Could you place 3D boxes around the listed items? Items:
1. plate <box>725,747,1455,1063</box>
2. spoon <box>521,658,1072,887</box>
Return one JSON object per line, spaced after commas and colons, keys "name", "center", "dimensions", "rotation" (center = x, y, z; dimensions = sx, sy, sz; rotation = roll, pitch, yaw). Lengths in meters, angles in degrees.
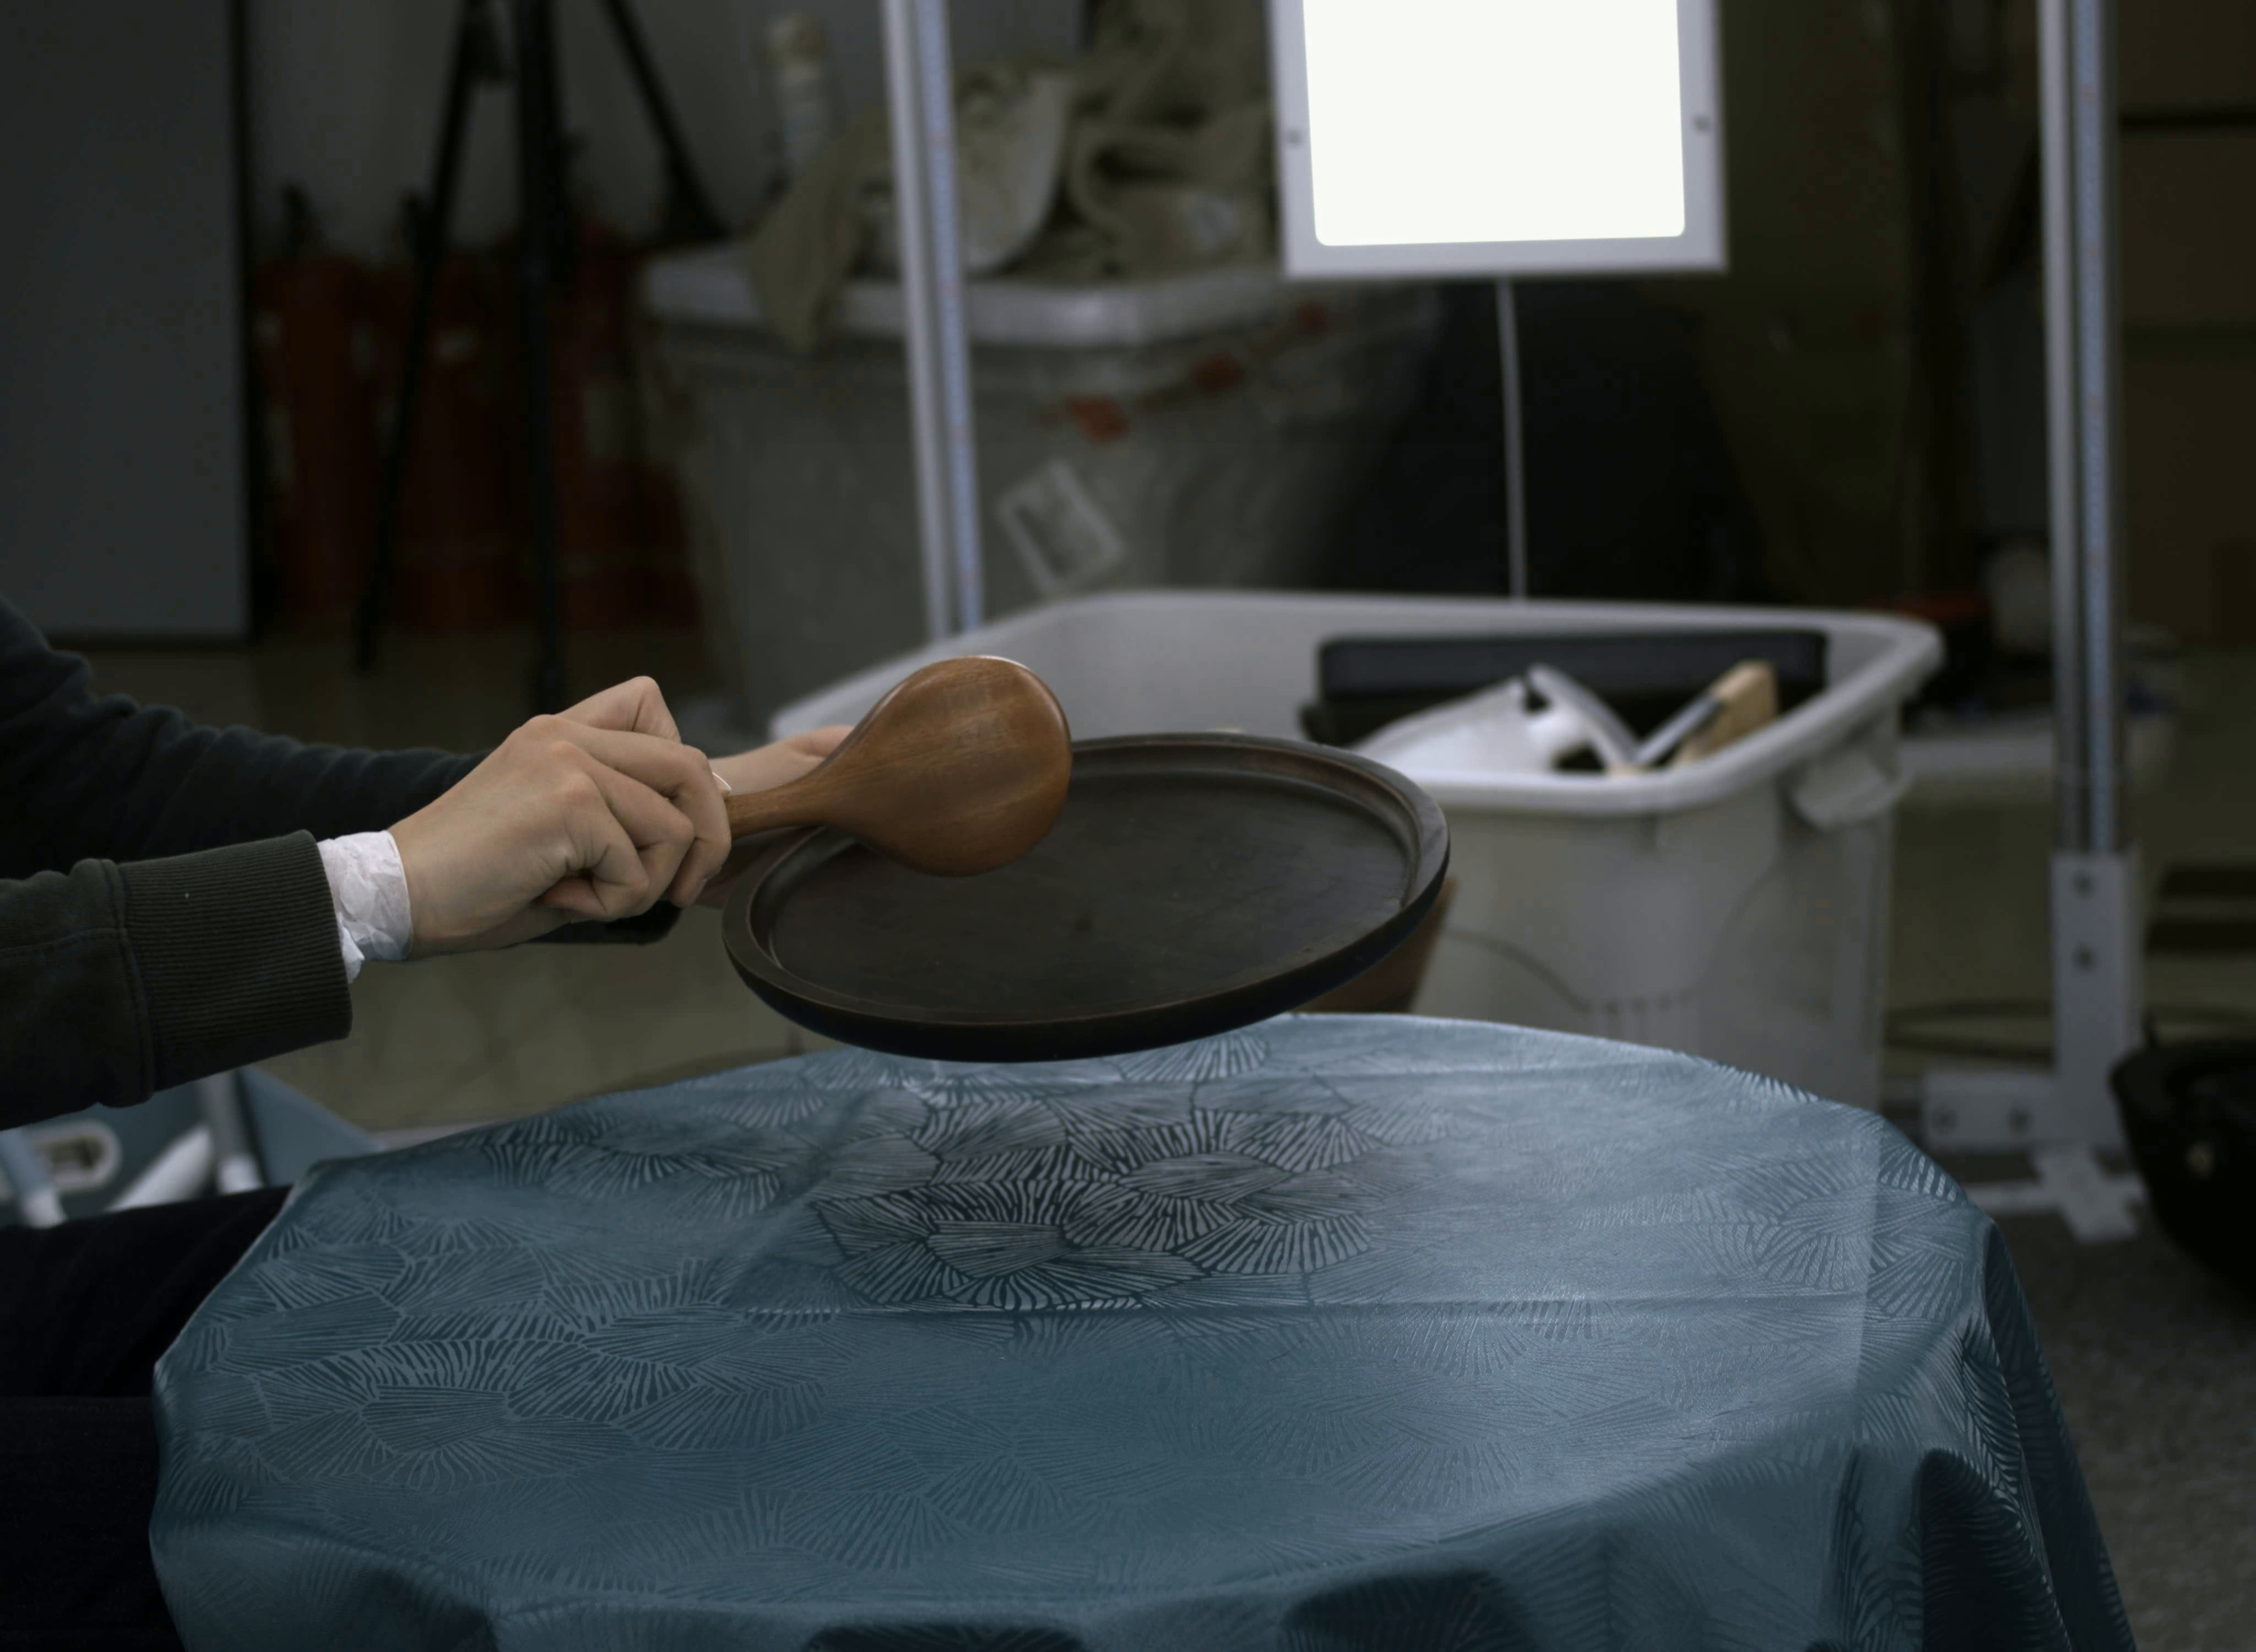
{"name": "plate", "center": [-0.013, 0.025, 1.891], "dimensions": [0.254, 0.029, 0.254], "rotation": [-7, 21, 1]}
{"name": "spoon", "center": [-0.102, -0.008, 1.783], "dimensions": [0.210, 0.076, 0.017], "rotation": [-11, 12, -34]}
